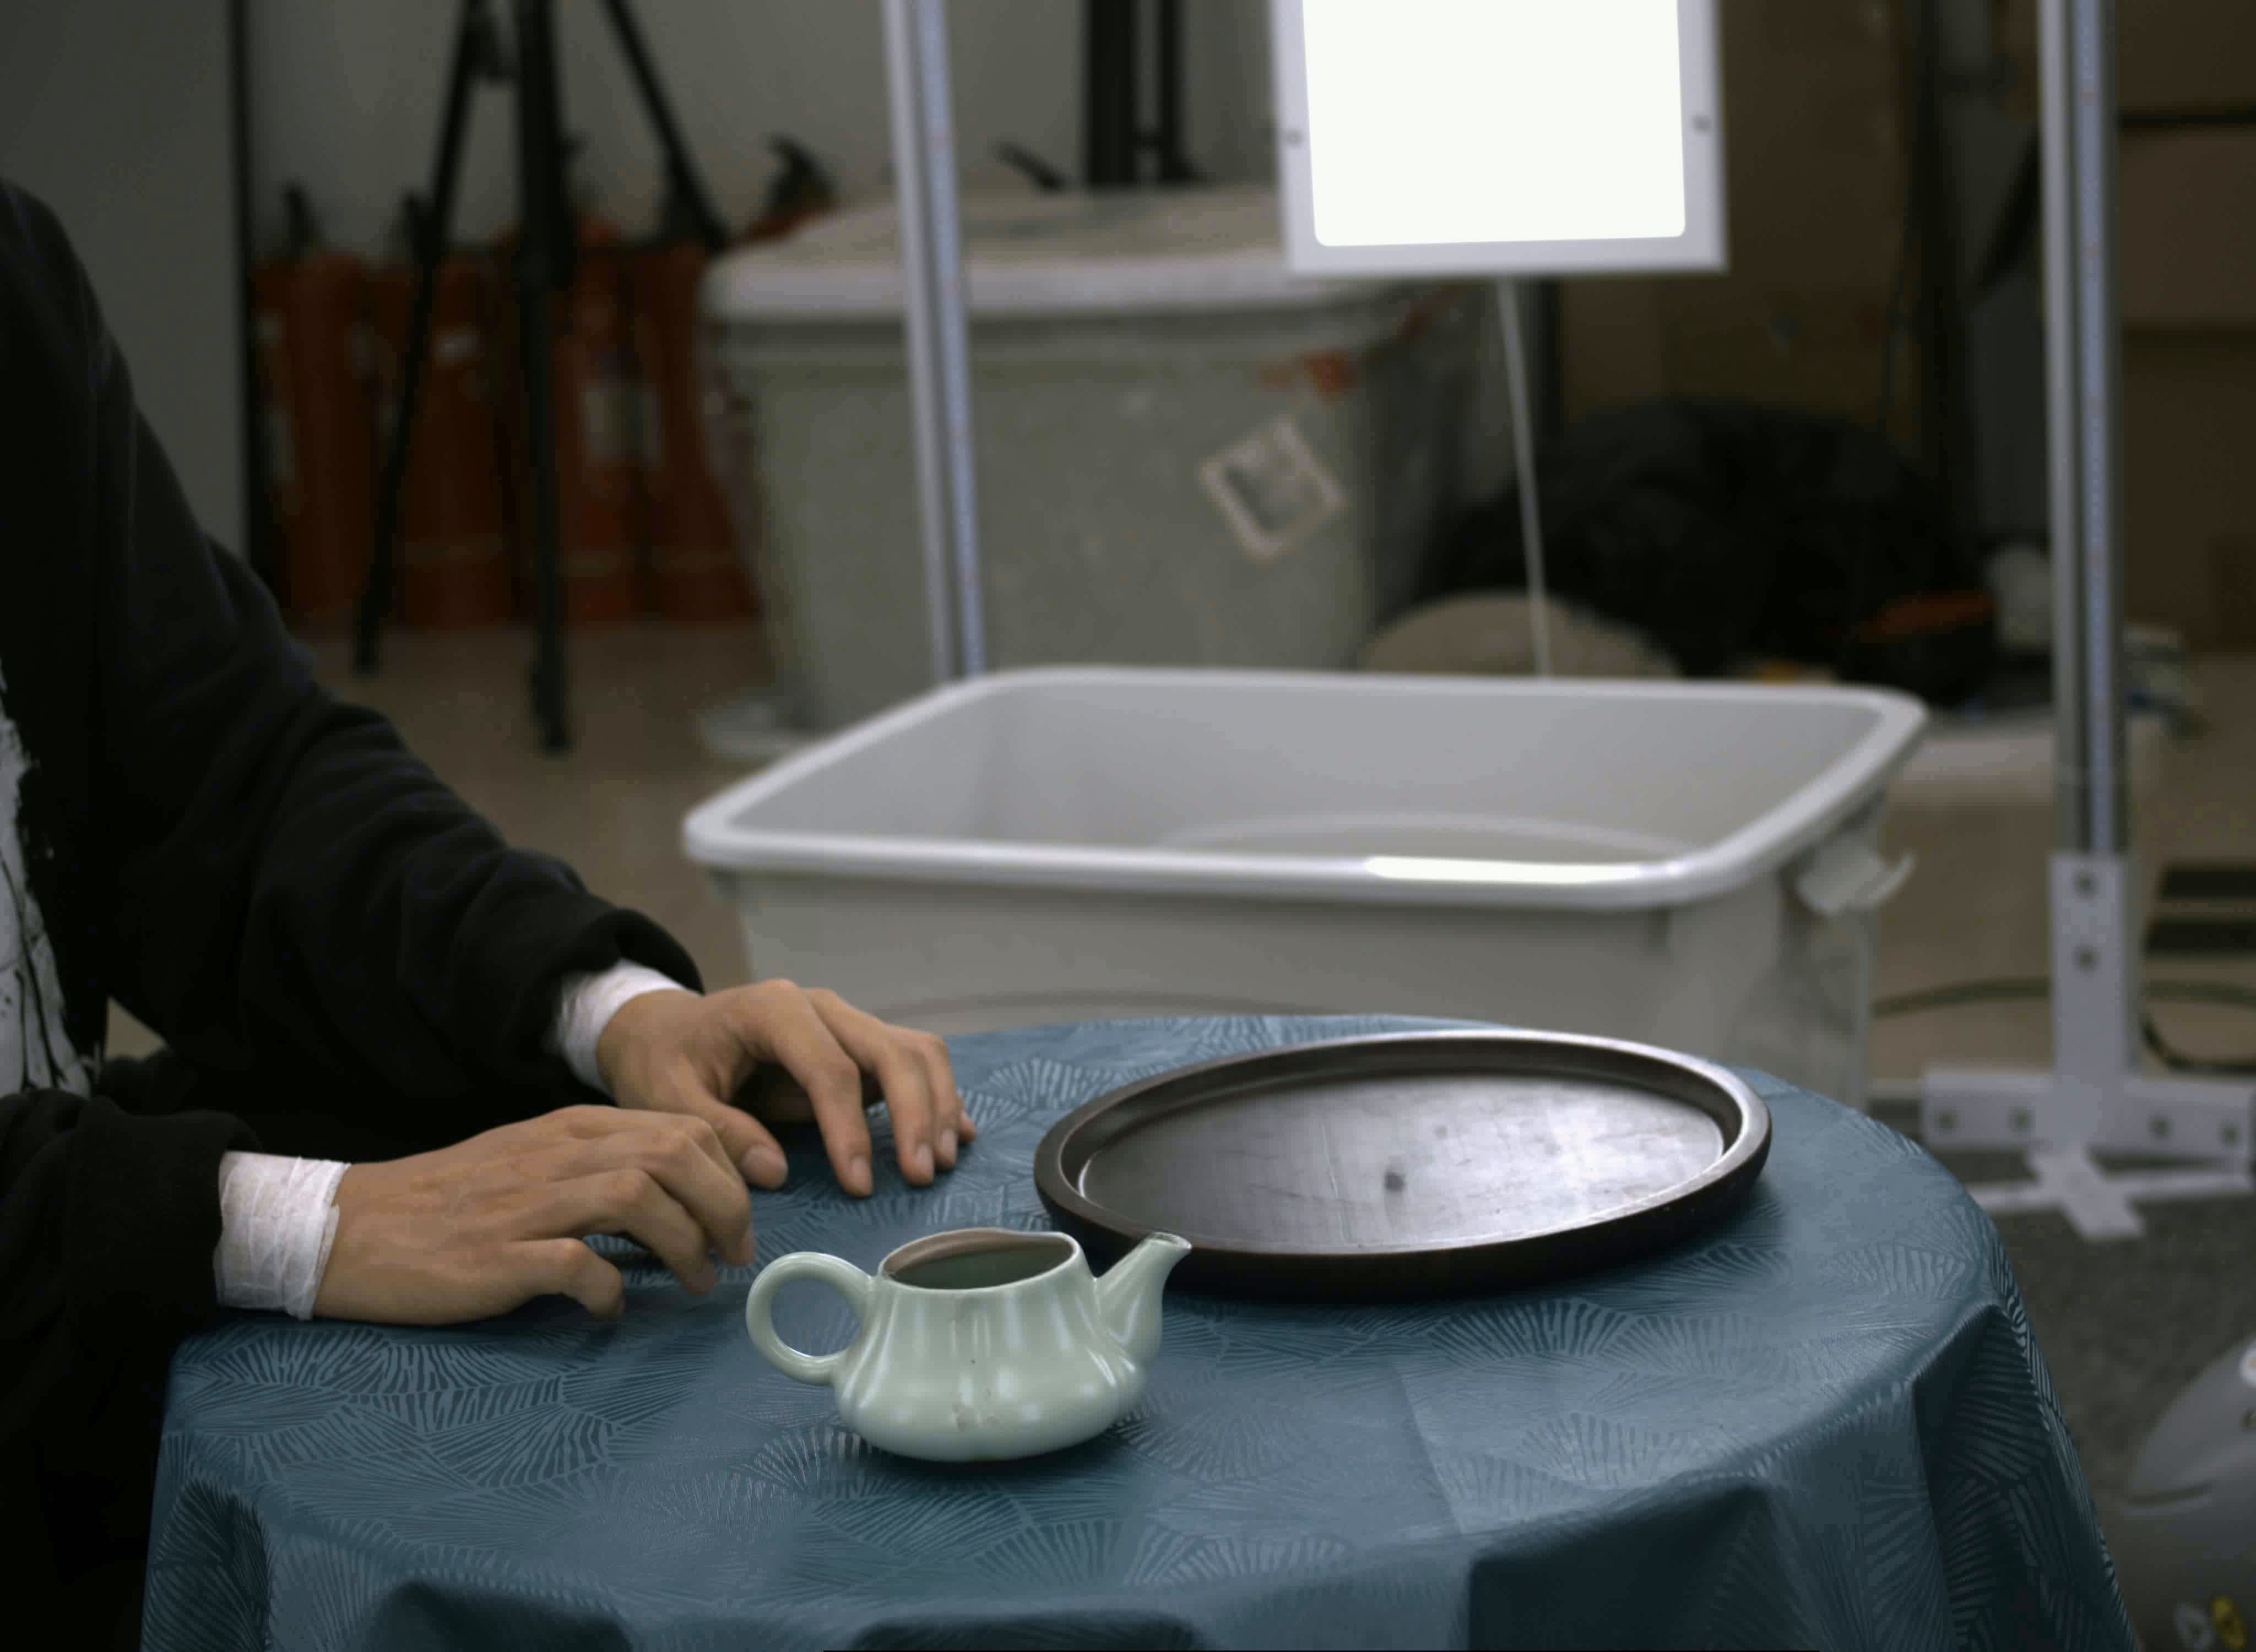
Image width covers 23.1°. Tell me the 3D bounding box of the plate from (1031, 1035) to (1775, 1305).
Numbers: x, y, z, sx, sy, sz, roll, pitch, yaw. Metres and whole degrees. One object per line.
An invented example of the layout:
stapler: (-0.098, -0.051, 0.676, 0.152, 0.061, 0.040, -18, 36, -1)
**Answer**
plate: (0.094, 0.114, 1.866, 0.254, 0.029, 0.254, -5, 15, 0)

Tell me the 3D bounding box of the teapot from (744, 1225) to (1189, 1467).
teapot: (-0.047, 0.156, 1.669, 0.137, 0.061, 0.096, -4, 15, 3)
